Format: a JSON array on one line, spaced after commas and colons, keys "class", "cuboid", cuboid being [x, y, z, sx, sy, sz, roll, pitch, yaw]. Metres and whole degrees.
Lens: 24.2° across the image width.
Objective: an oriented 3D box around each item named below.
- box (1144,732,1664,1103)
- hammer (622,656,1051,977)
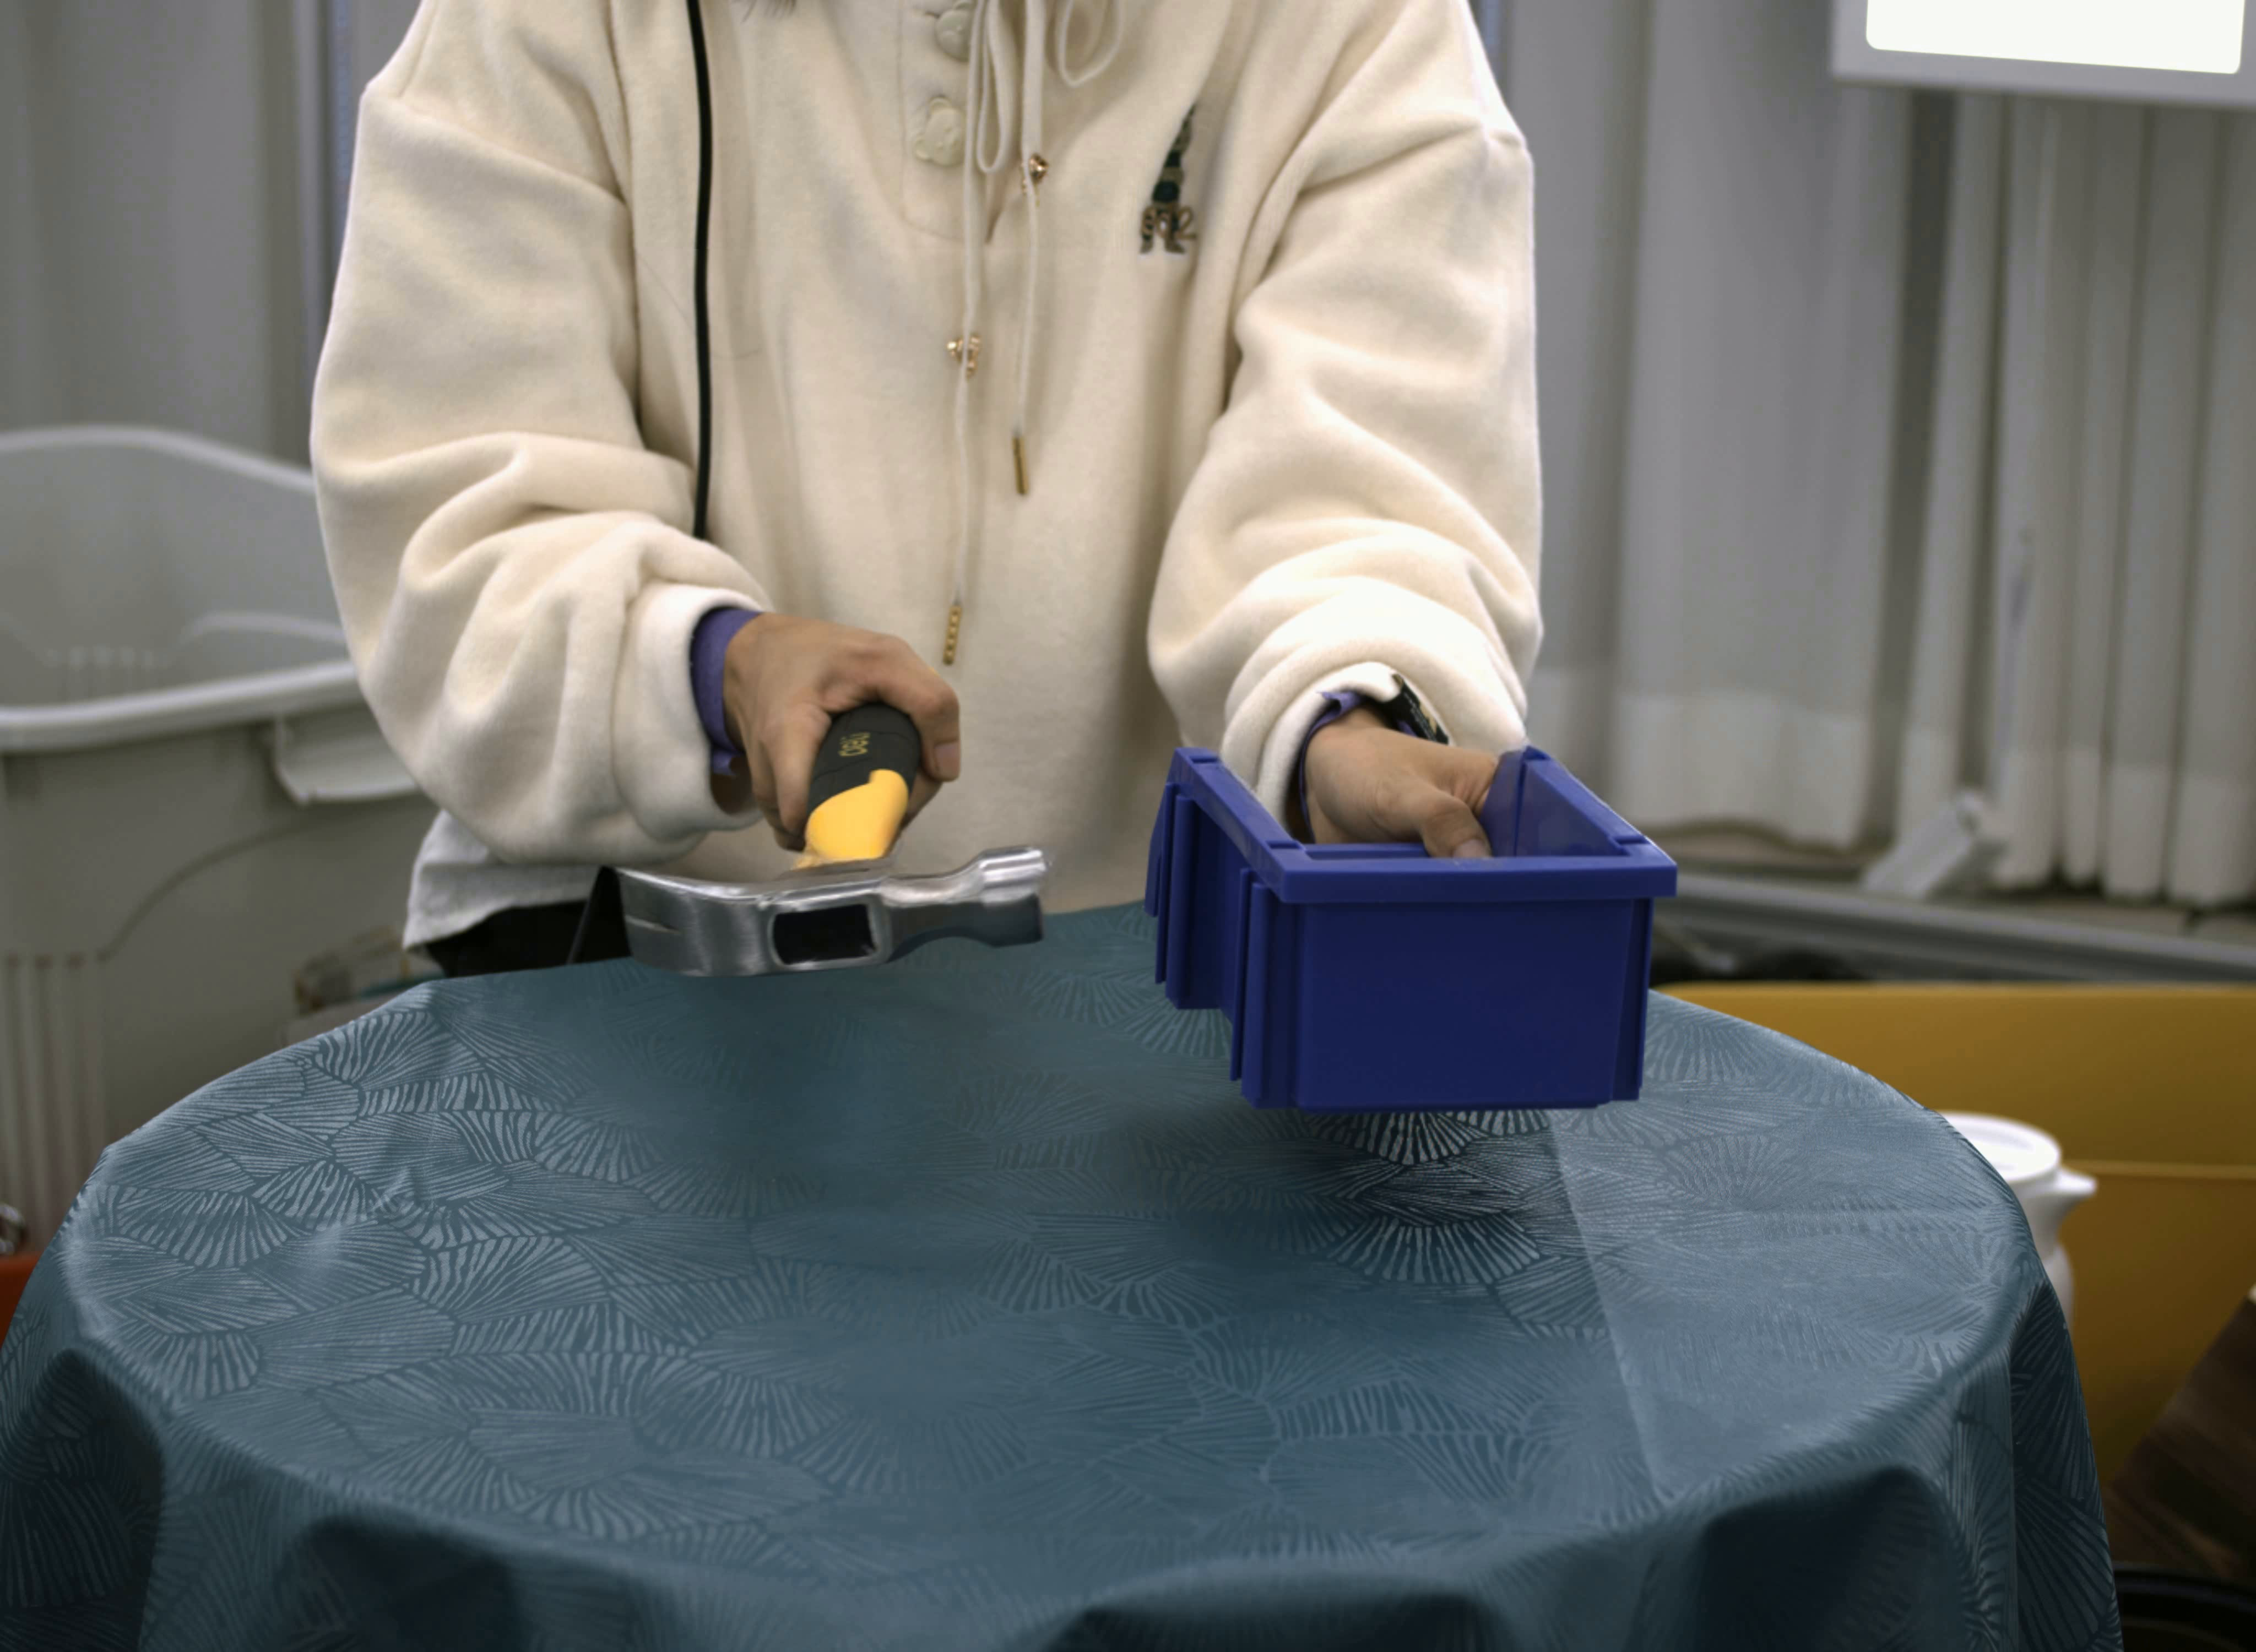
[{"class": "box", "cuboid": [0.079, 0.024, 1.632, 0.124, 0.082, 0.178, -1, 17, -12]}, {"class": "hammer", "cuboid": [-0.086, -0.010, 1.720, 0.131, 0.032, 0.337, -9, 13, 4]}]
